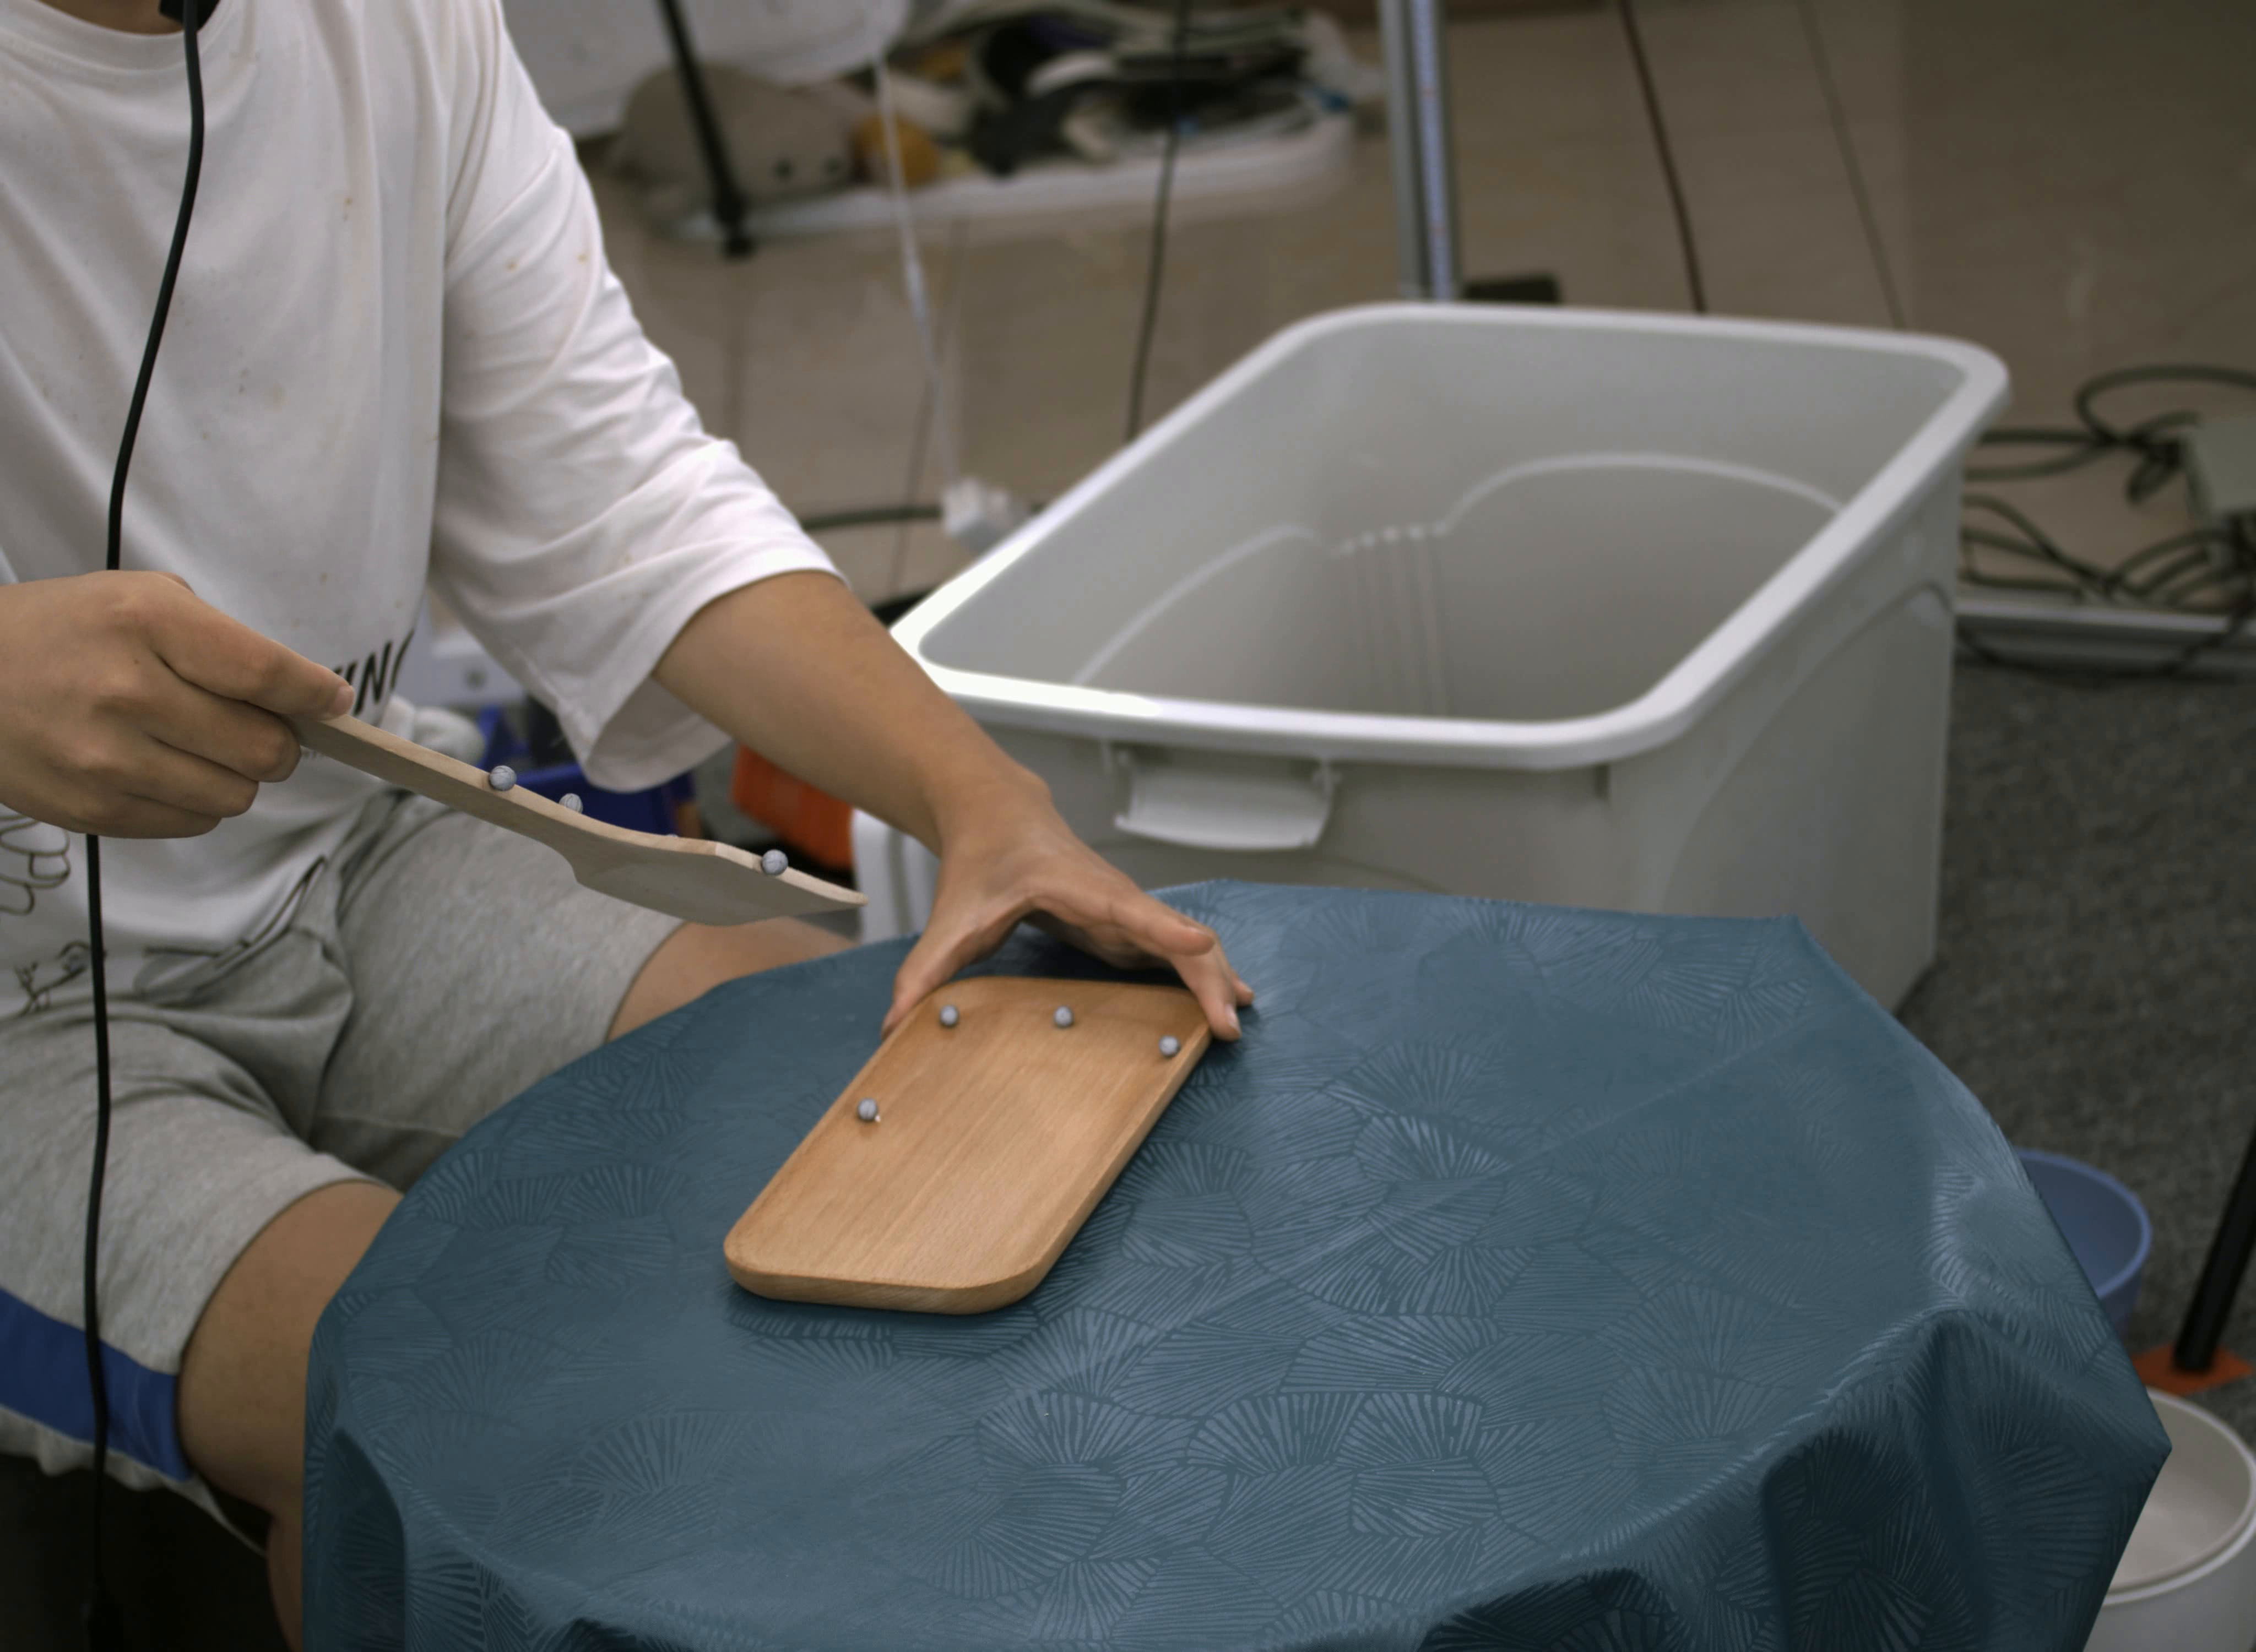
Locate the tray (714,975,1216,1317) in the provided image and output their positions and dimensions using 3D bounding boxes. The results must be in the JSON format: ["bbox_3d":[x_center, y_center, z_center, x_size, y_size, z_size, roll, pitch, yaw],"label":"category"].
[{"bbox_3d":[-0.059,0.121,2.182,0.130,0.023,0.247,1,27,23],"label":"tray"}]

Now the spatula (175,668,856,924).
[{"bbox_3d":[-0.205,-0.008,1.888,0.072,0.010,0.295,-7,-20,36],"label":"spatula"}]
